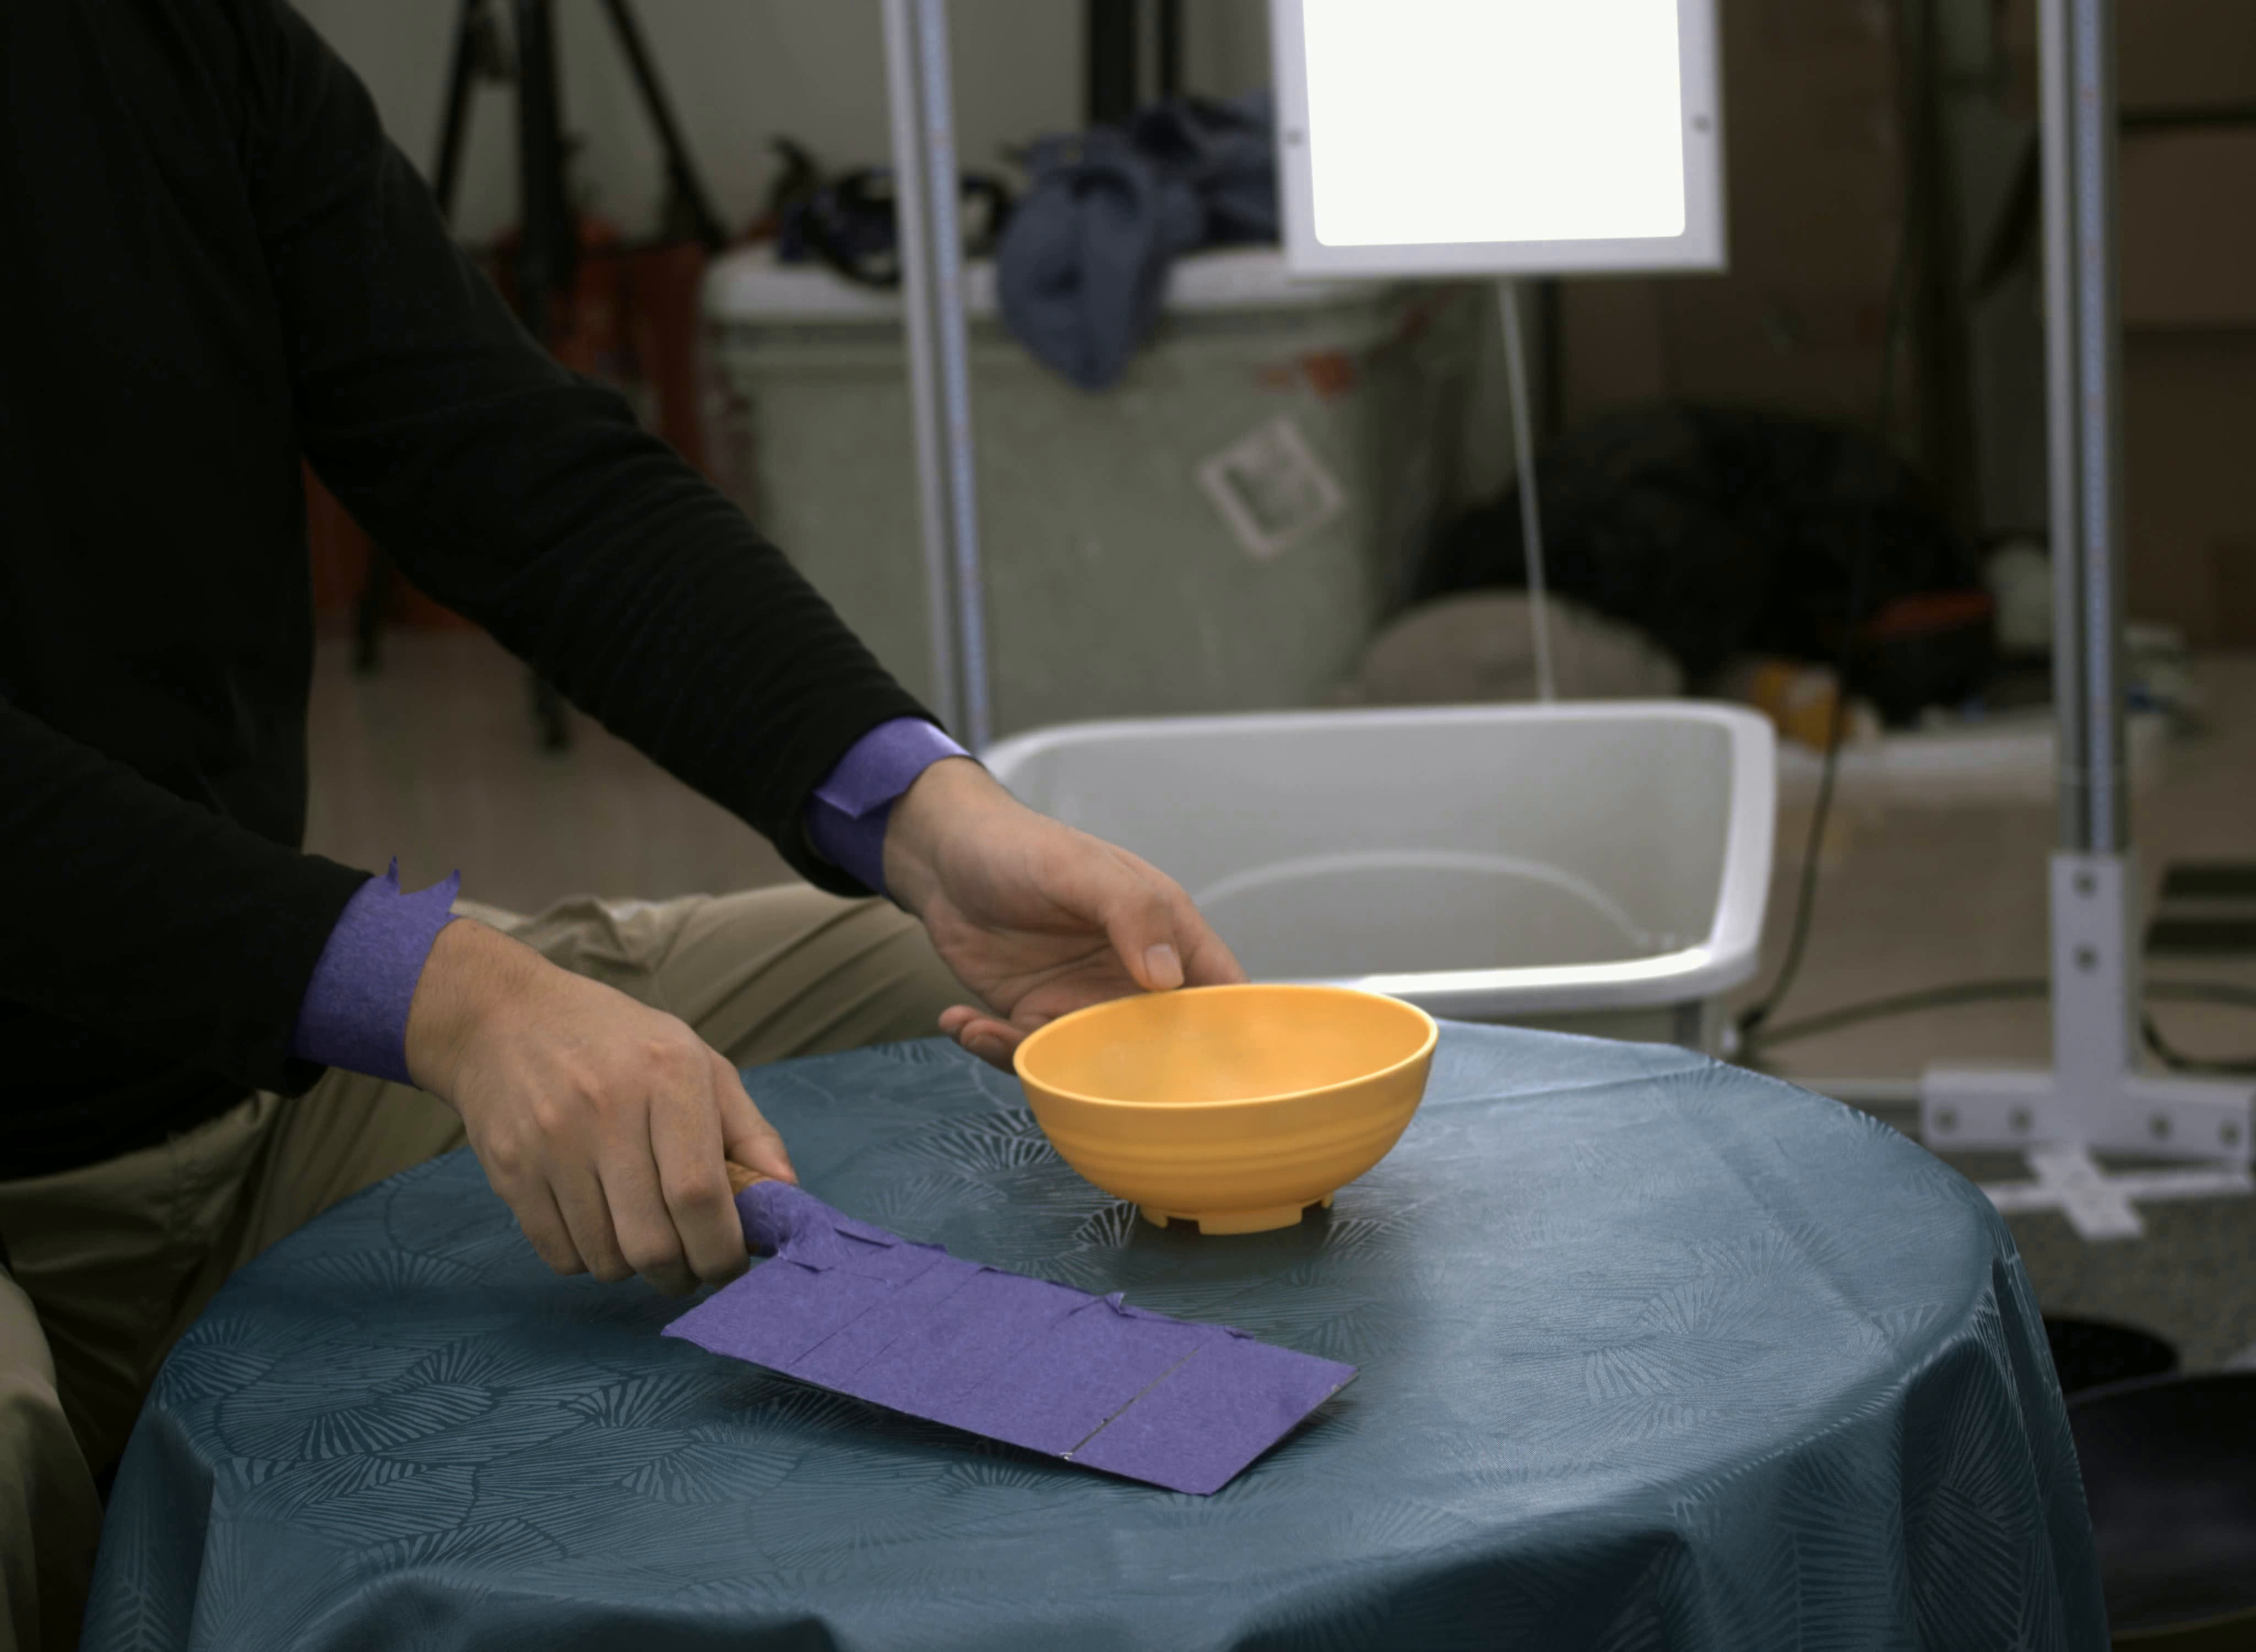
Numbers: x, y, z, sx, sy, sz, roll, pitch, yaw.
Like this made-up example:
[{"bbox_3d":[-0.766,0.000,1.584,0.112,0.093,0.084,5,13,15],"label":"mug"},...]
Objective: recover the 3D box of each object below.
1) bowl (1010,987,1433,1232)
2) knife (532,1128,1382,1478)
[{"bbox_3d":[0.033,0.100,1.867,0.145,0.060,0.145,-3,13,-1],"label":"bowl"},{"bbox_3d":[-0.077,0.147,1.727,0.321,0.032,0.101,10,26,34],"label":"knife"}]
